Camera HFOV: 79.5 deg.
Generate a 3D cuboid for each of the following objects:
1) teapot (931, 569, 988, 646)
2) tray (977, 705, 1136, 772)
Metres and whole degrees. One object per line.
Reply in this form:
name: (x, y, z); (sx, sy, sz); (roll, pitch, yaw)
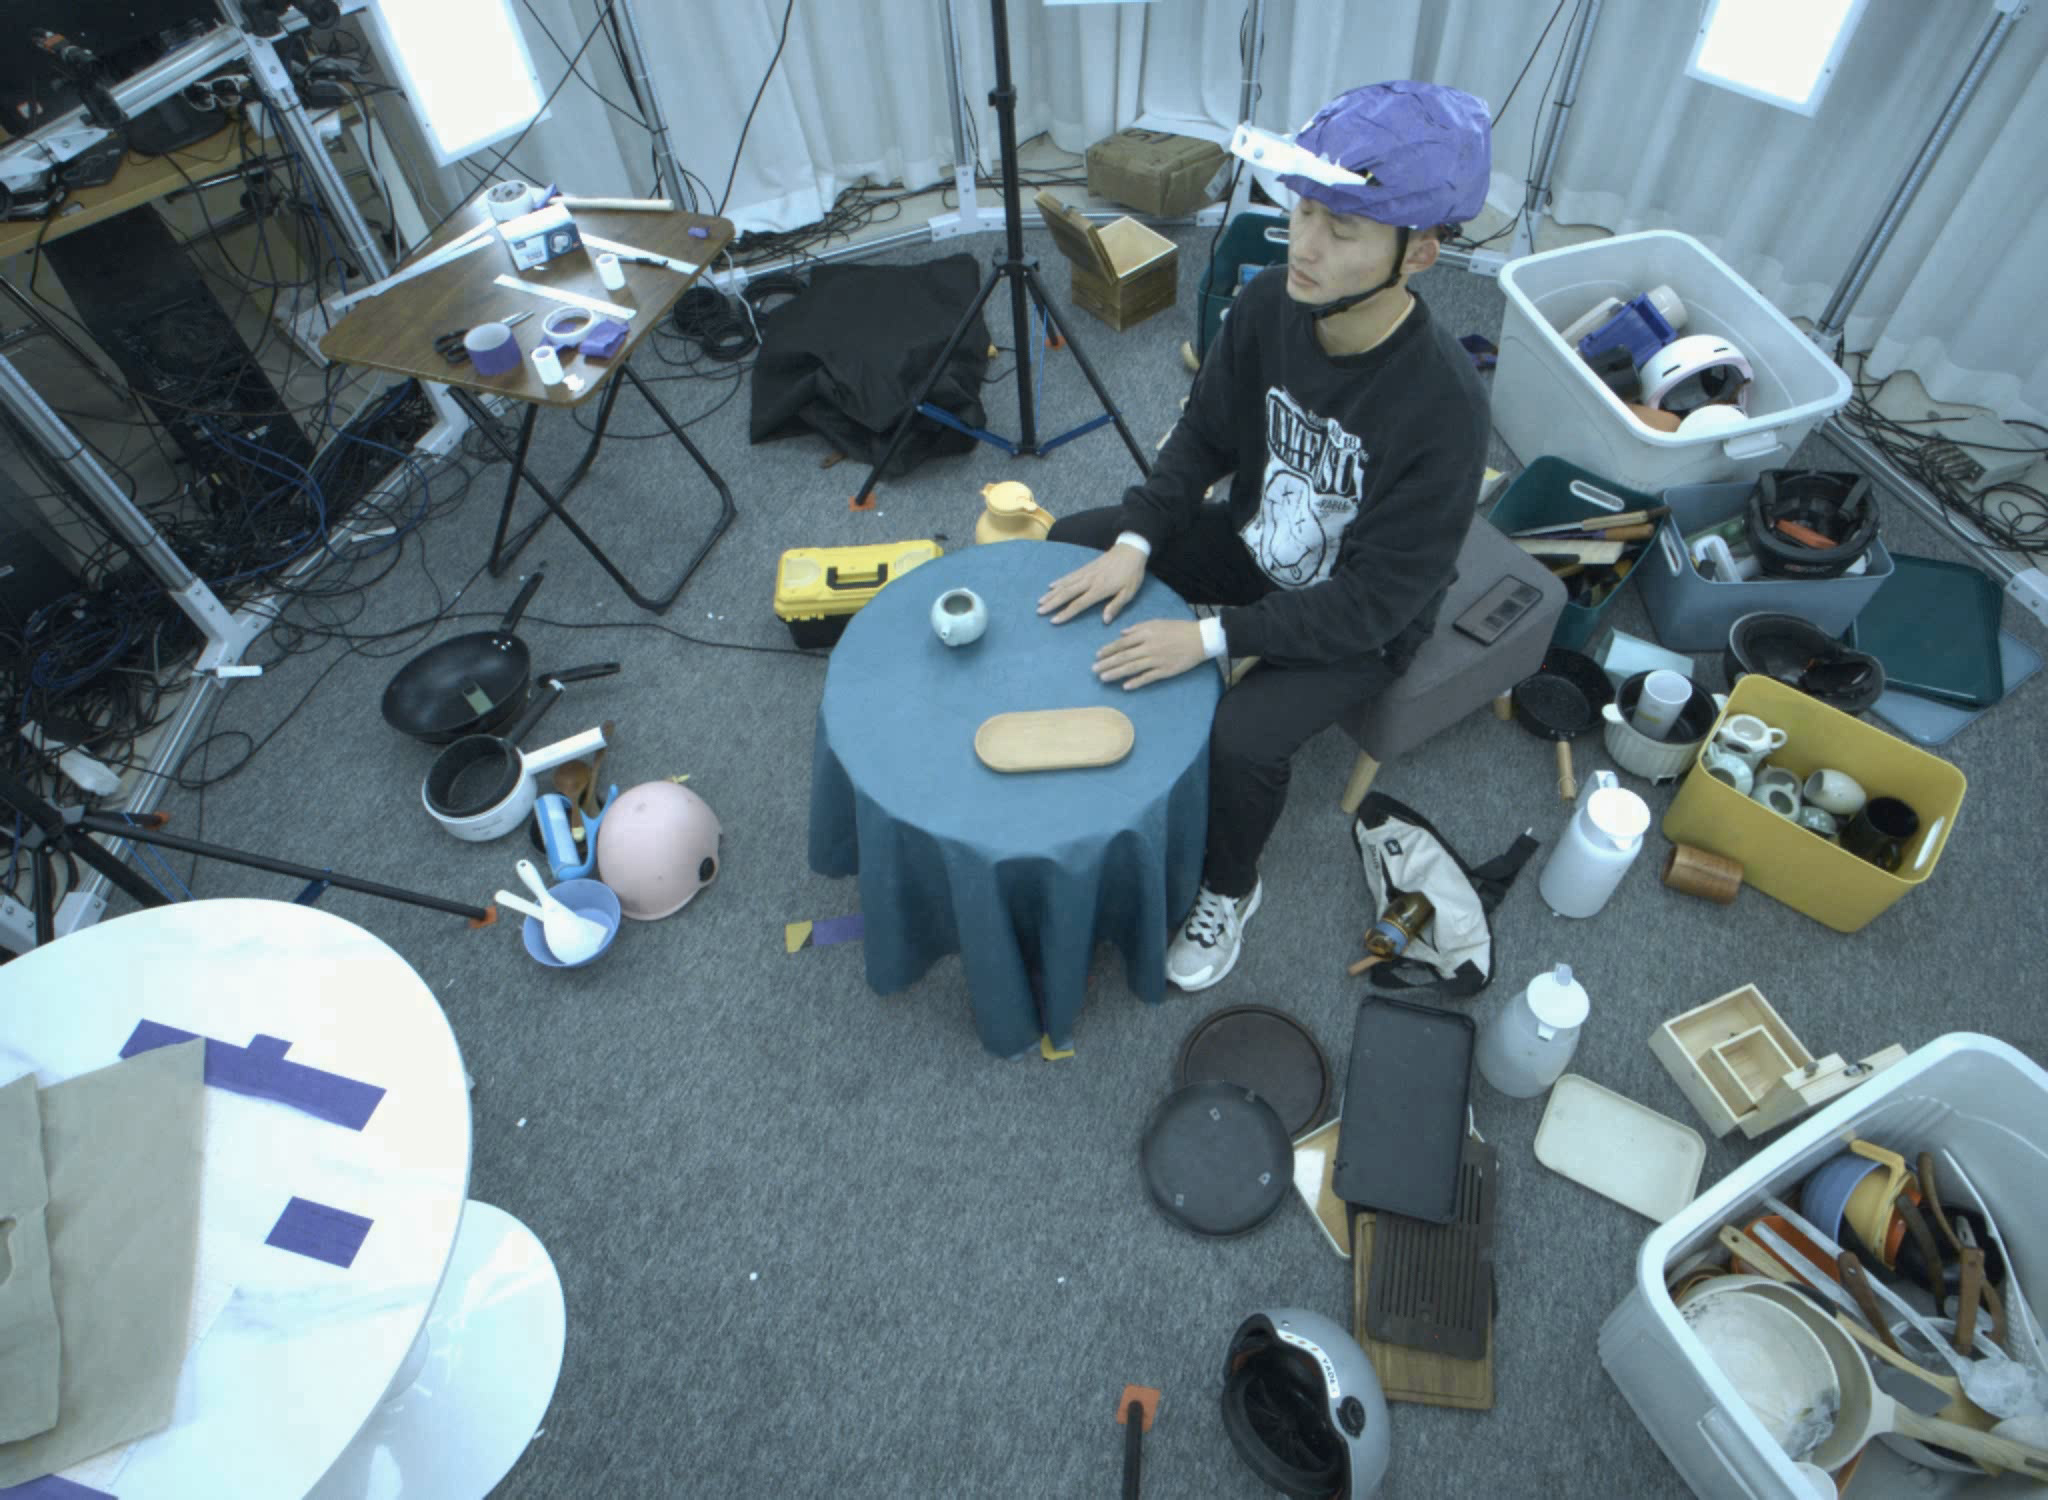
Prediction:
teapot: (-0.100, -0.206, 1.889); (0.087, 0.075, 0.143); (13, 57, 11)
tray: (0.047, -0.016, 1.784); (0.232, 0.020, 0.100); (-3, 56, -3)
